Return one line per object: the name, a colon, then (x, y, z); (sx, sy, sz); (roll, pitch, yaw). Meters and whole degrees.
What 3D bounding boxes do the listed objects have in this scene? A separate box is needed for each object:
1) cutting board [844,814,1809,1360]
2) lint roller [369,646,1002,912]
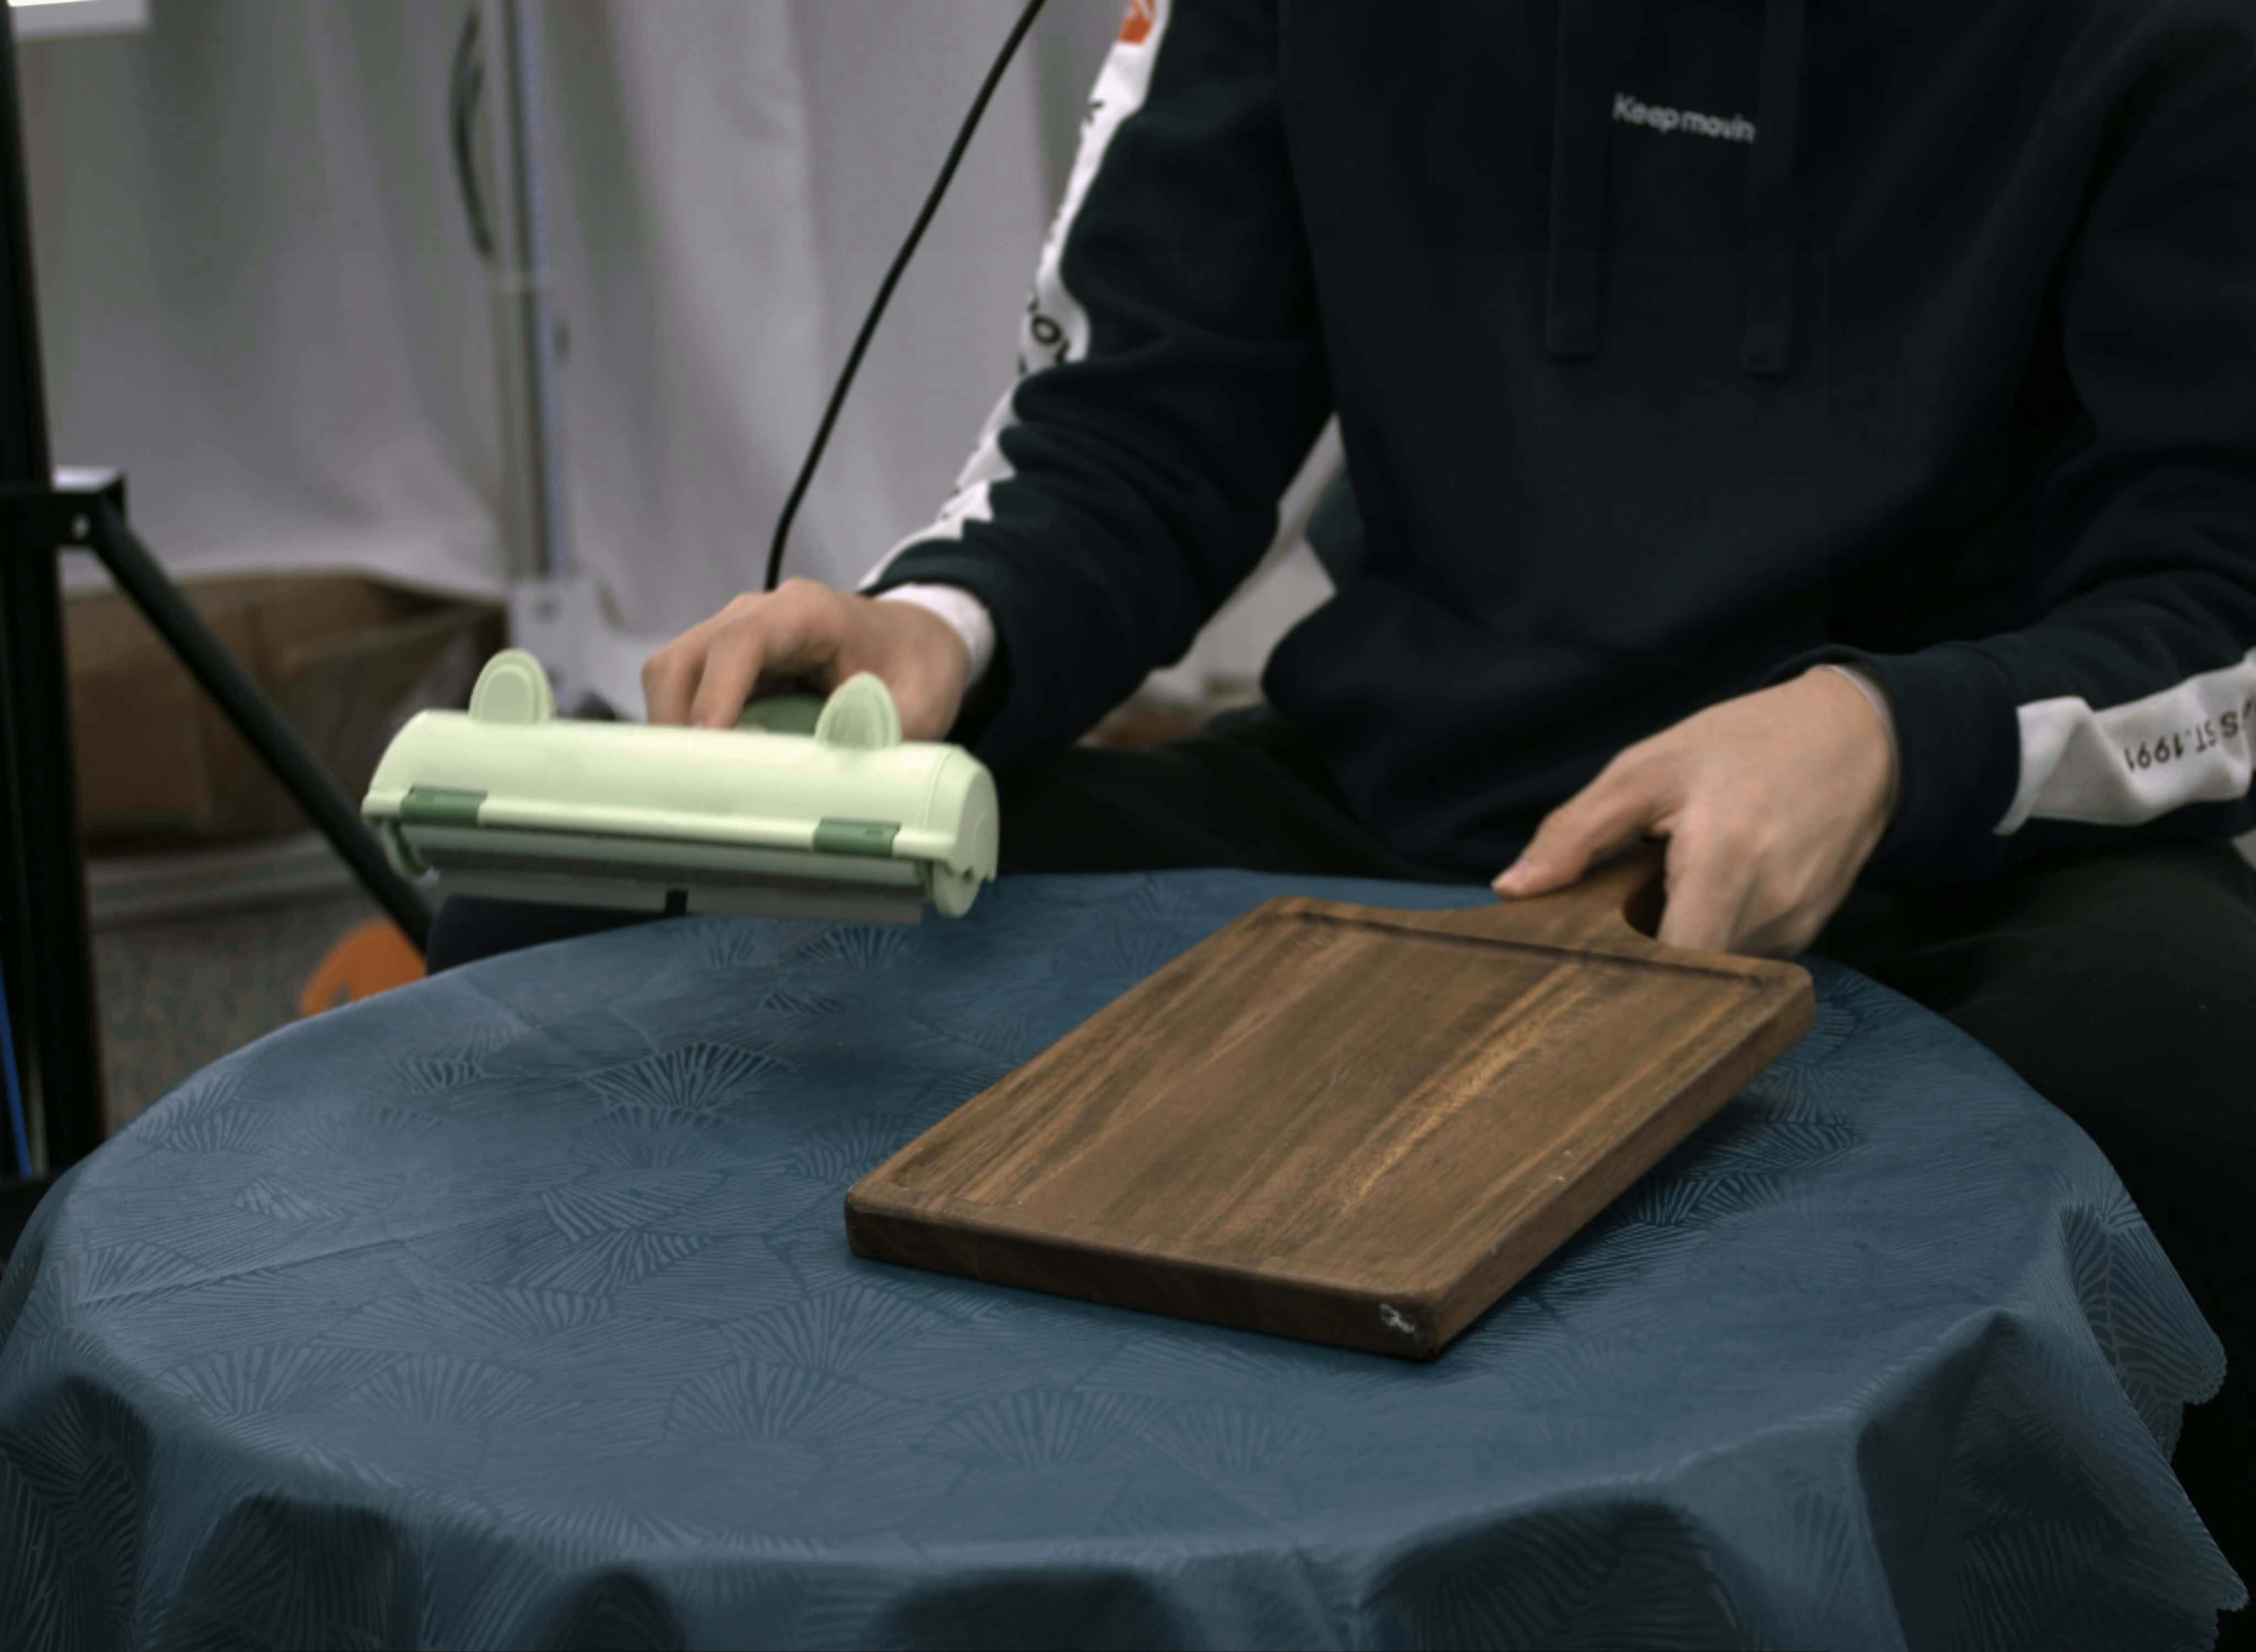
cutting board: (0.088, 0.066, 1.594); (0.205, 0.023, 0.346); (7, 24, 31)
lint roller: (-0.126, -0.034, 1.738); (0.200, 0.082, 0.182); (3, 24, 16)
